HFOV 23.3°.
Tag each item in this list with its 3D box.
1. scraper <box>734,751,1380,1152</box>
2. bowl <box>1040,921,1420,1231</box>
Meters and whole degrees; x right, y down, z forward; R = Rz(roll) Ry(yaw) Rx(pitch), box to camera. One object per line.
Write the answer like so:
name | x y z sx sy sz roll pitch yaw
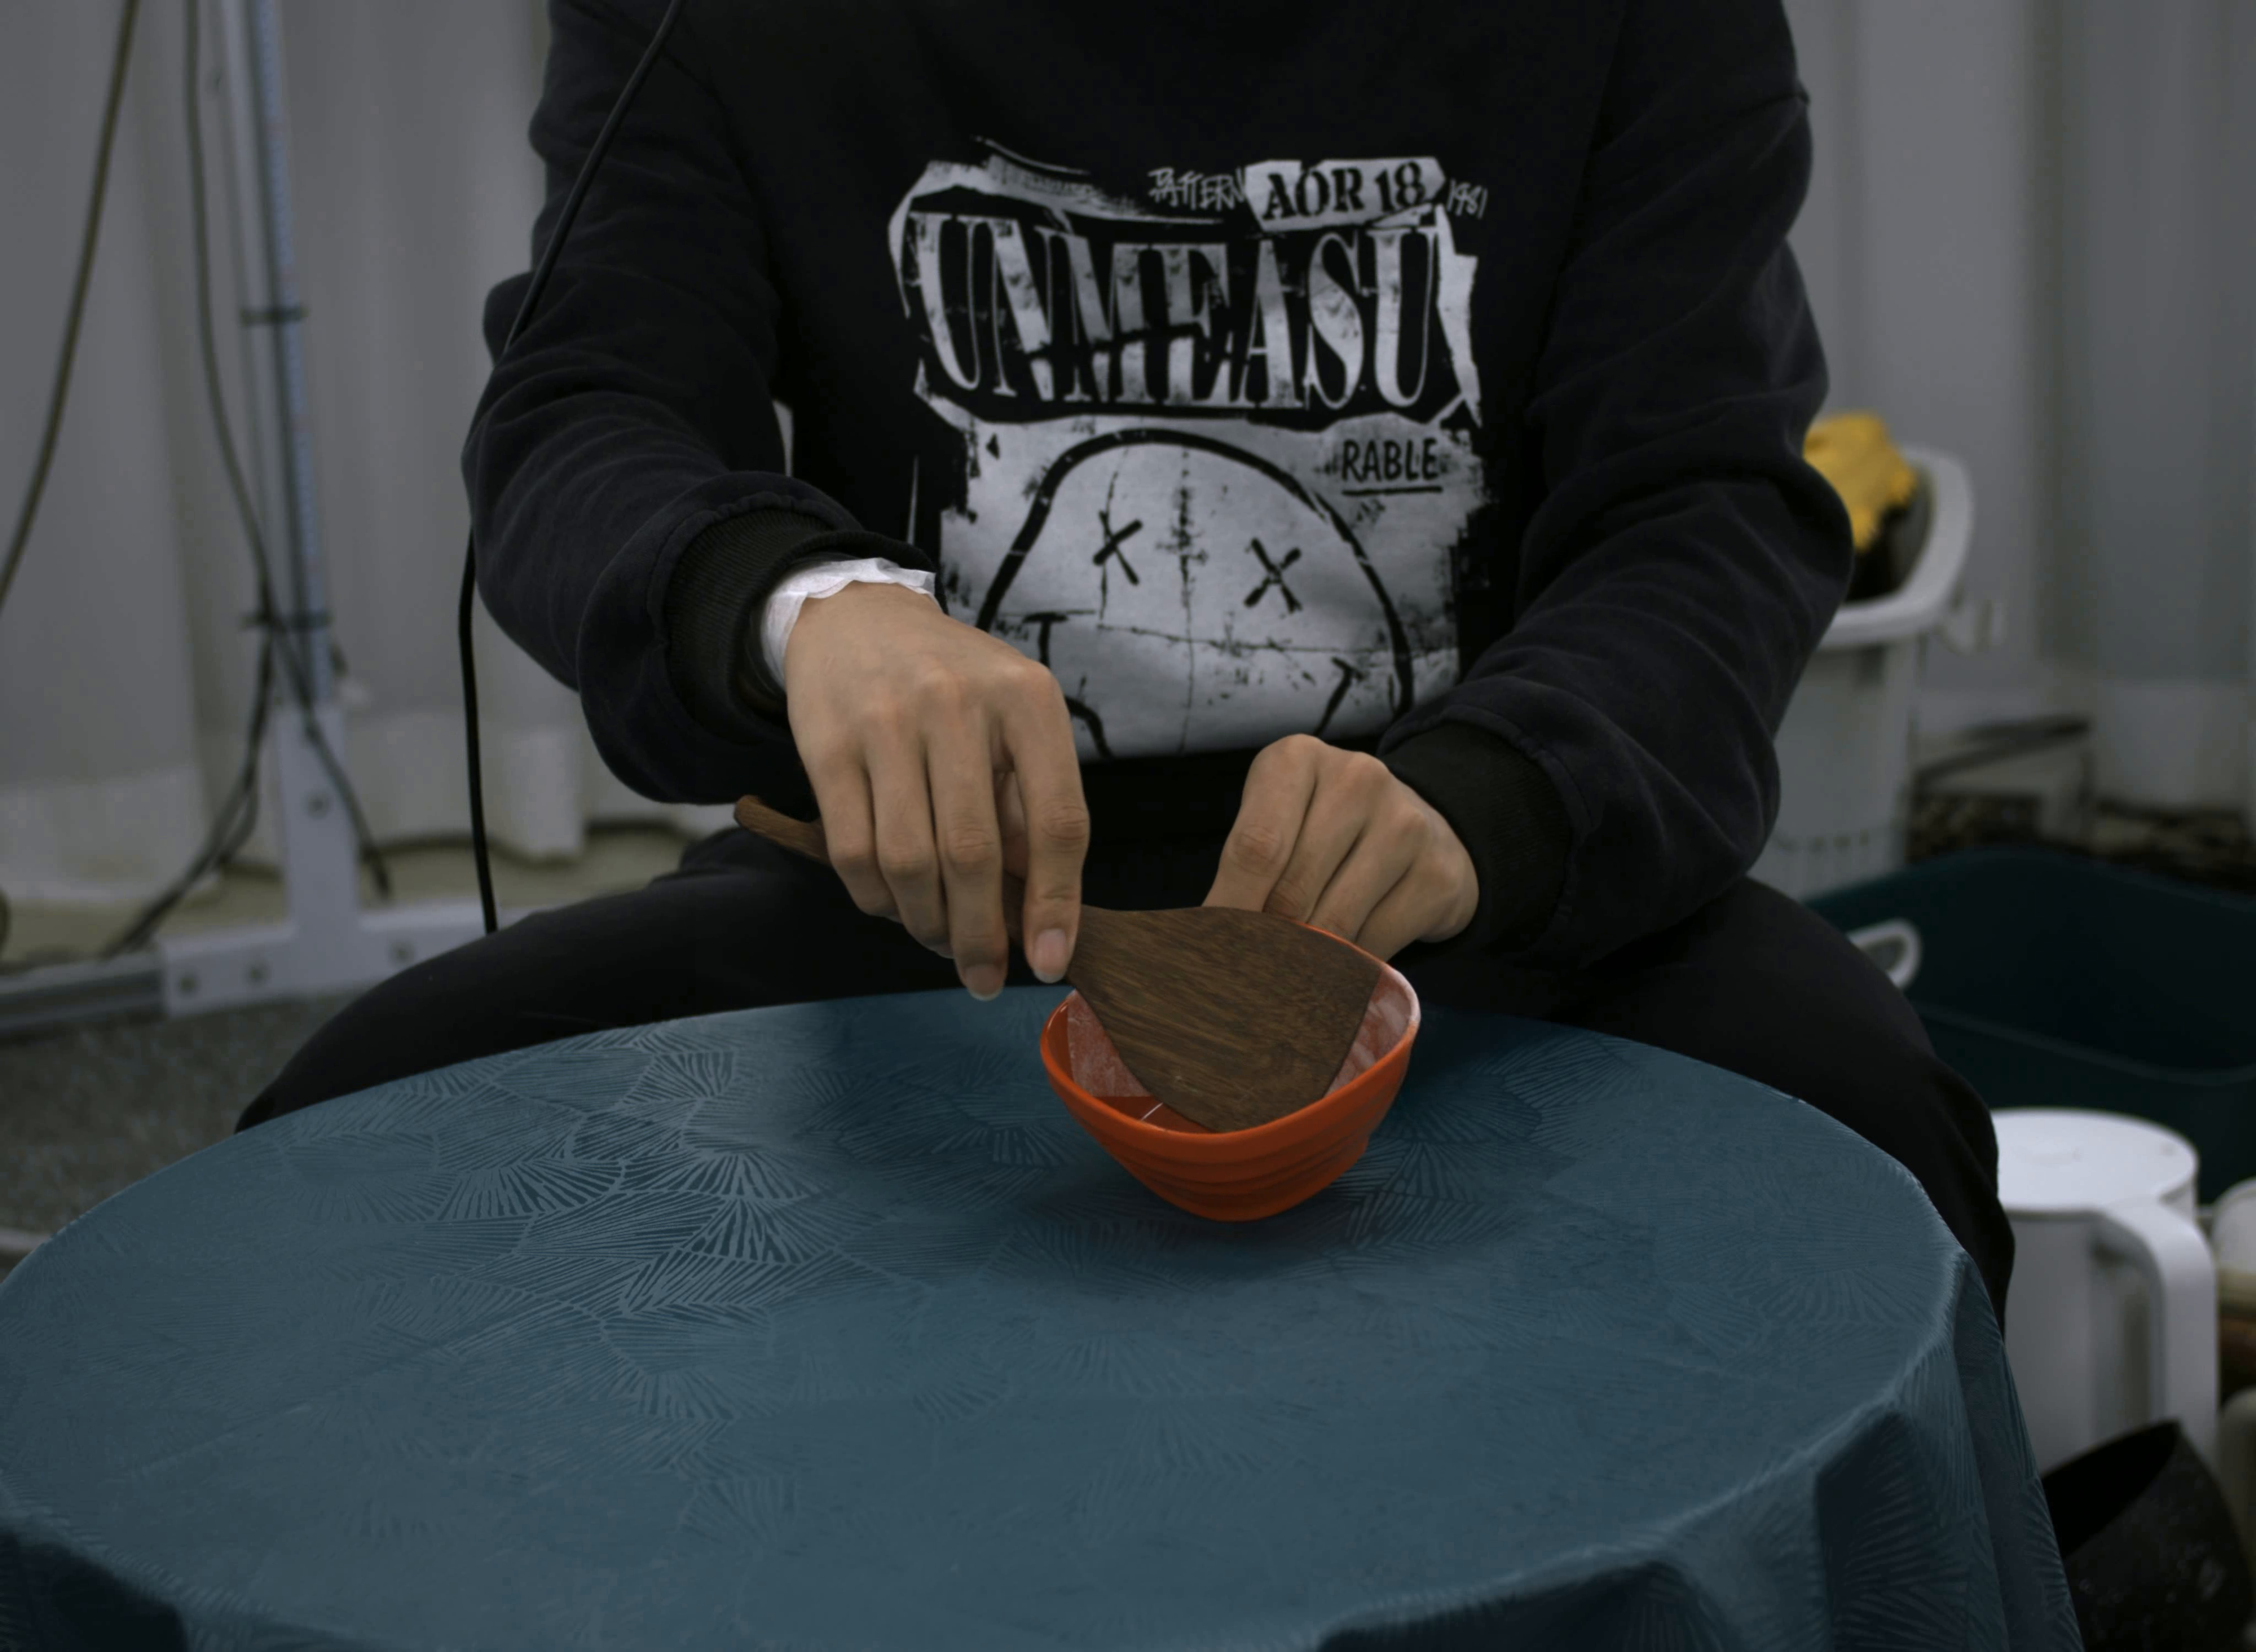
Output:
scraper | -0.026 0.029 1.687 0.212 0.076 0.011 25 -20 13
bowl | 0.034 0.082 1.698 0.118 0.051 0.120 -7 33 4
